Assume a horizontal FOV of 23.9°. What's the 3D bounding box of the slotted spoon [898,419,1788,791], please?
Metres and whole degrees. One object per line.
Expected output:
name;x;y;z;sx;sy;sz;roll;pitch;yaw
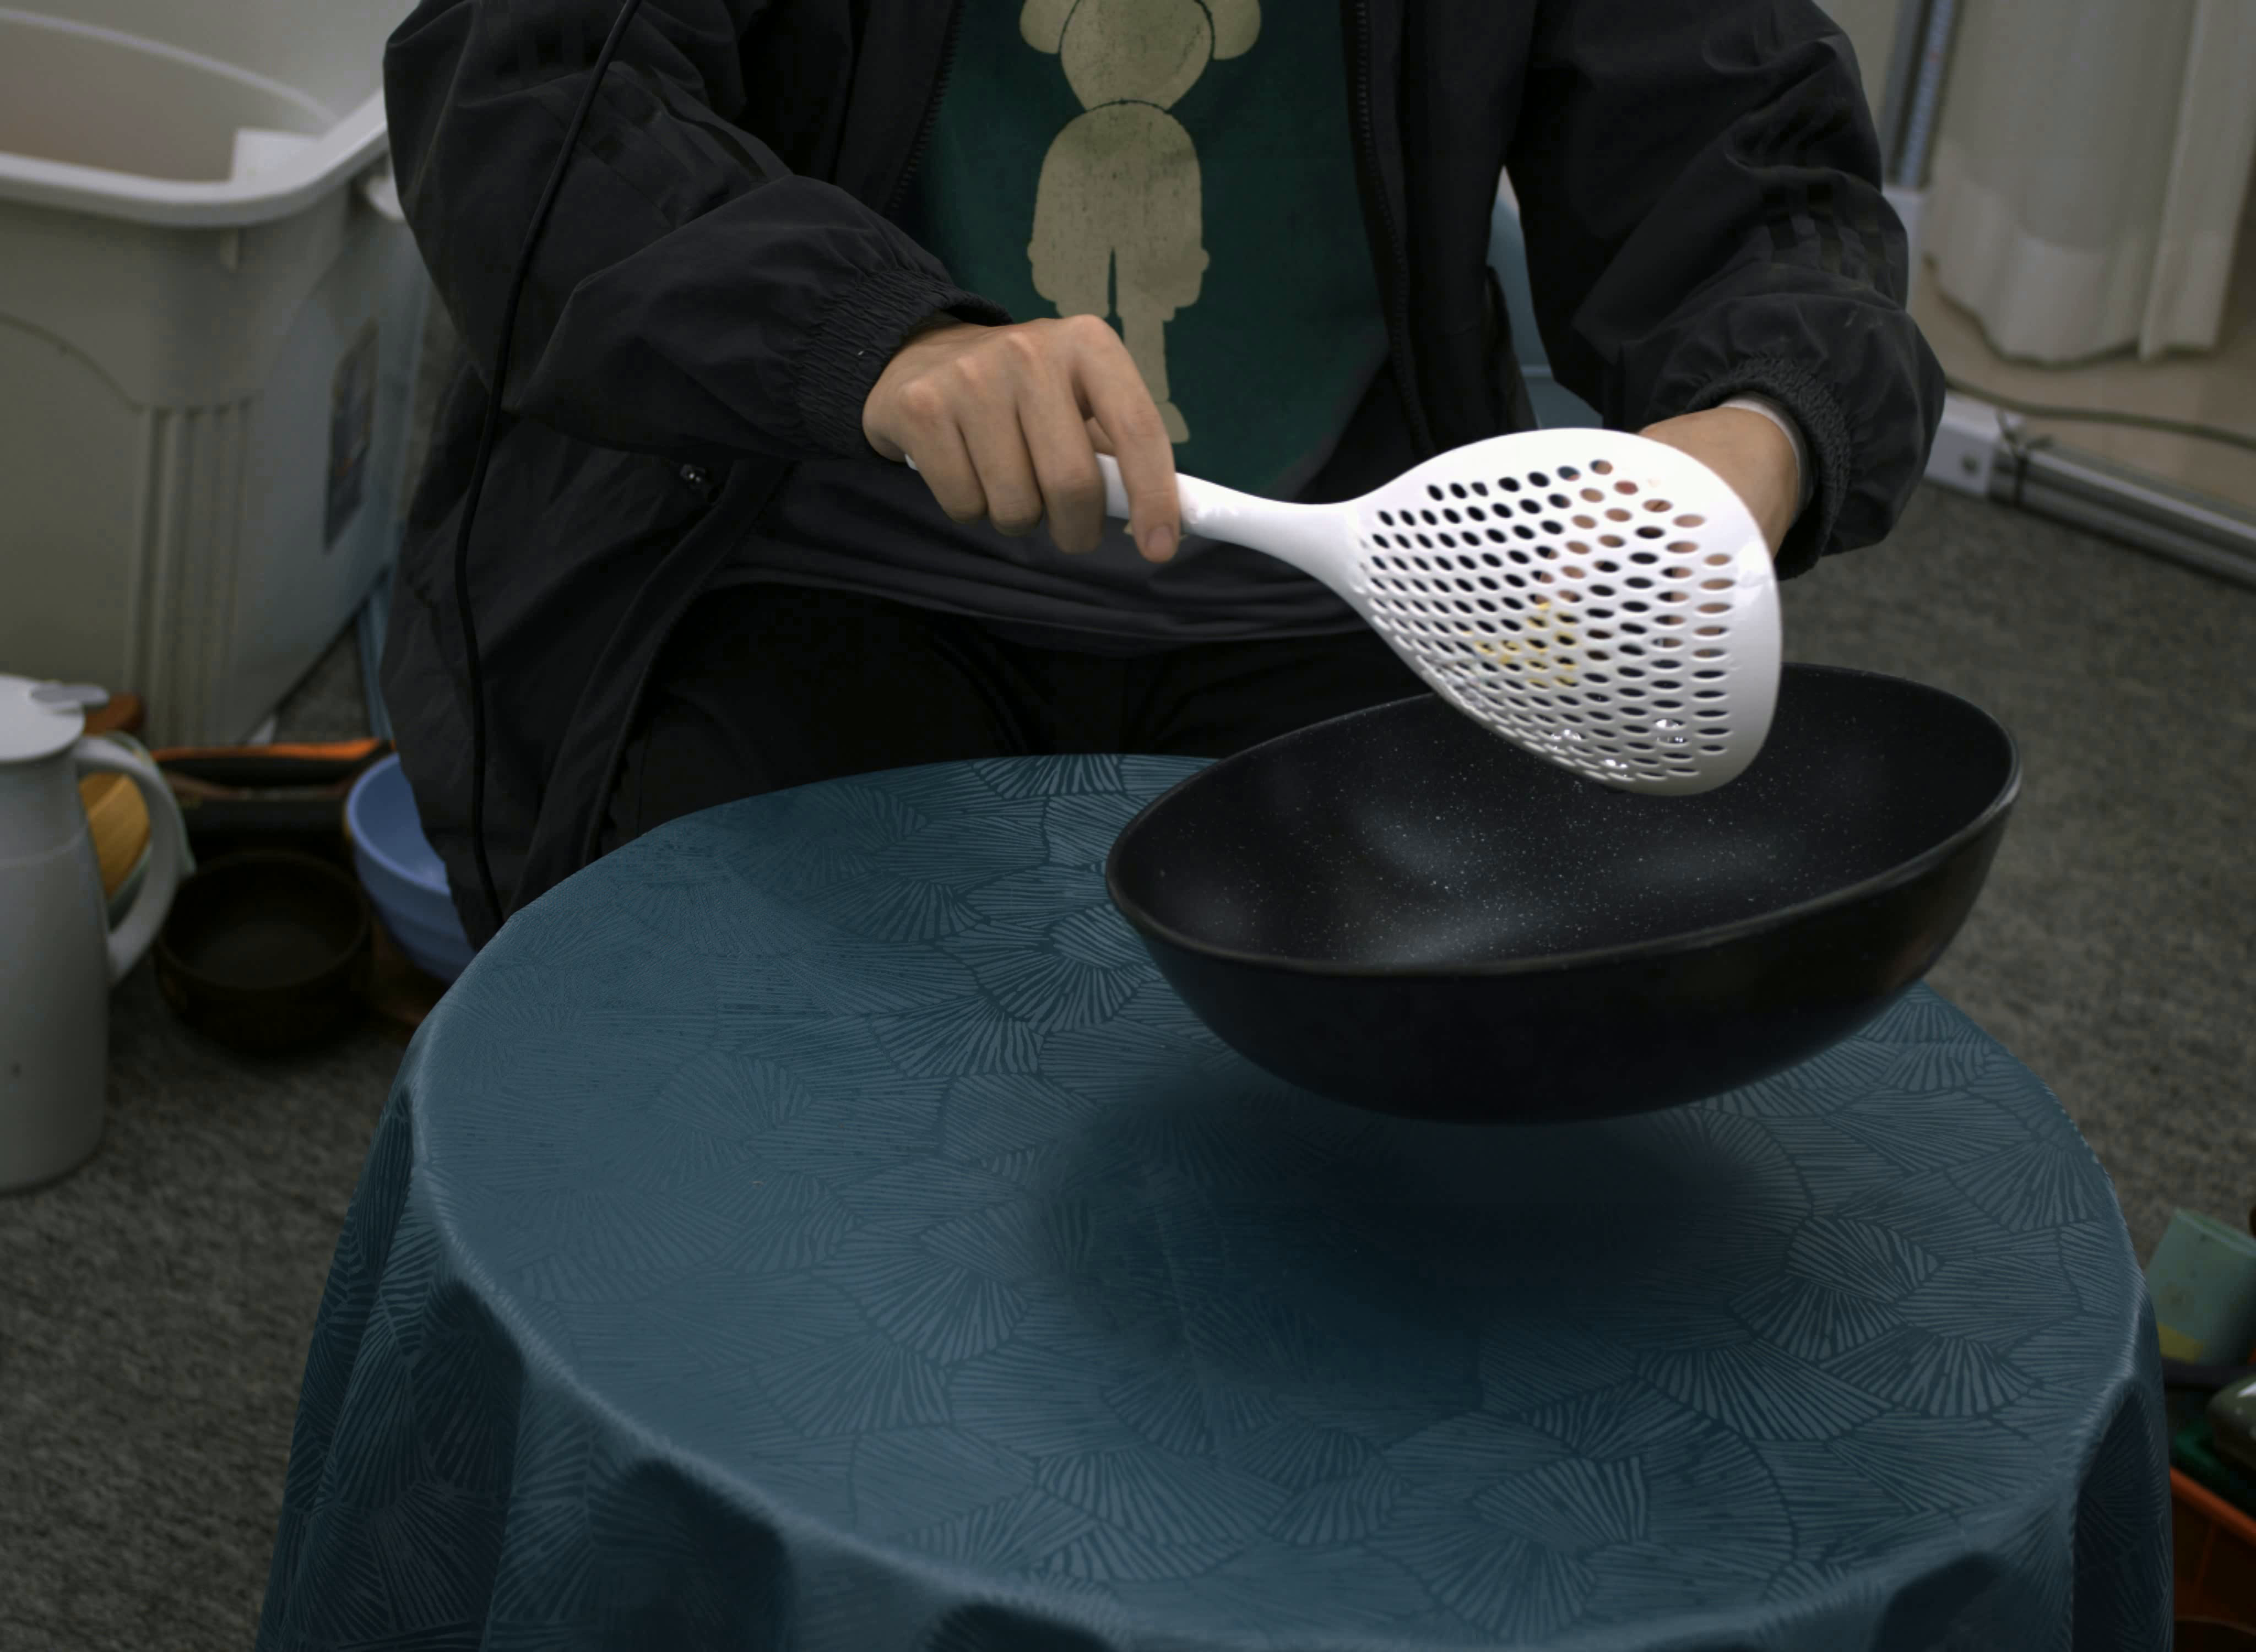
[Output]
slotted spoon;0.069;-0.096;1.868;0.350;0.136;0.050;18;35;33

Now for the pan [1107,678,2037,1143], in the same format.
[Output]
pan;0.165;-0.003;1.859;0.310;0.111;0.478;-4;18;13
